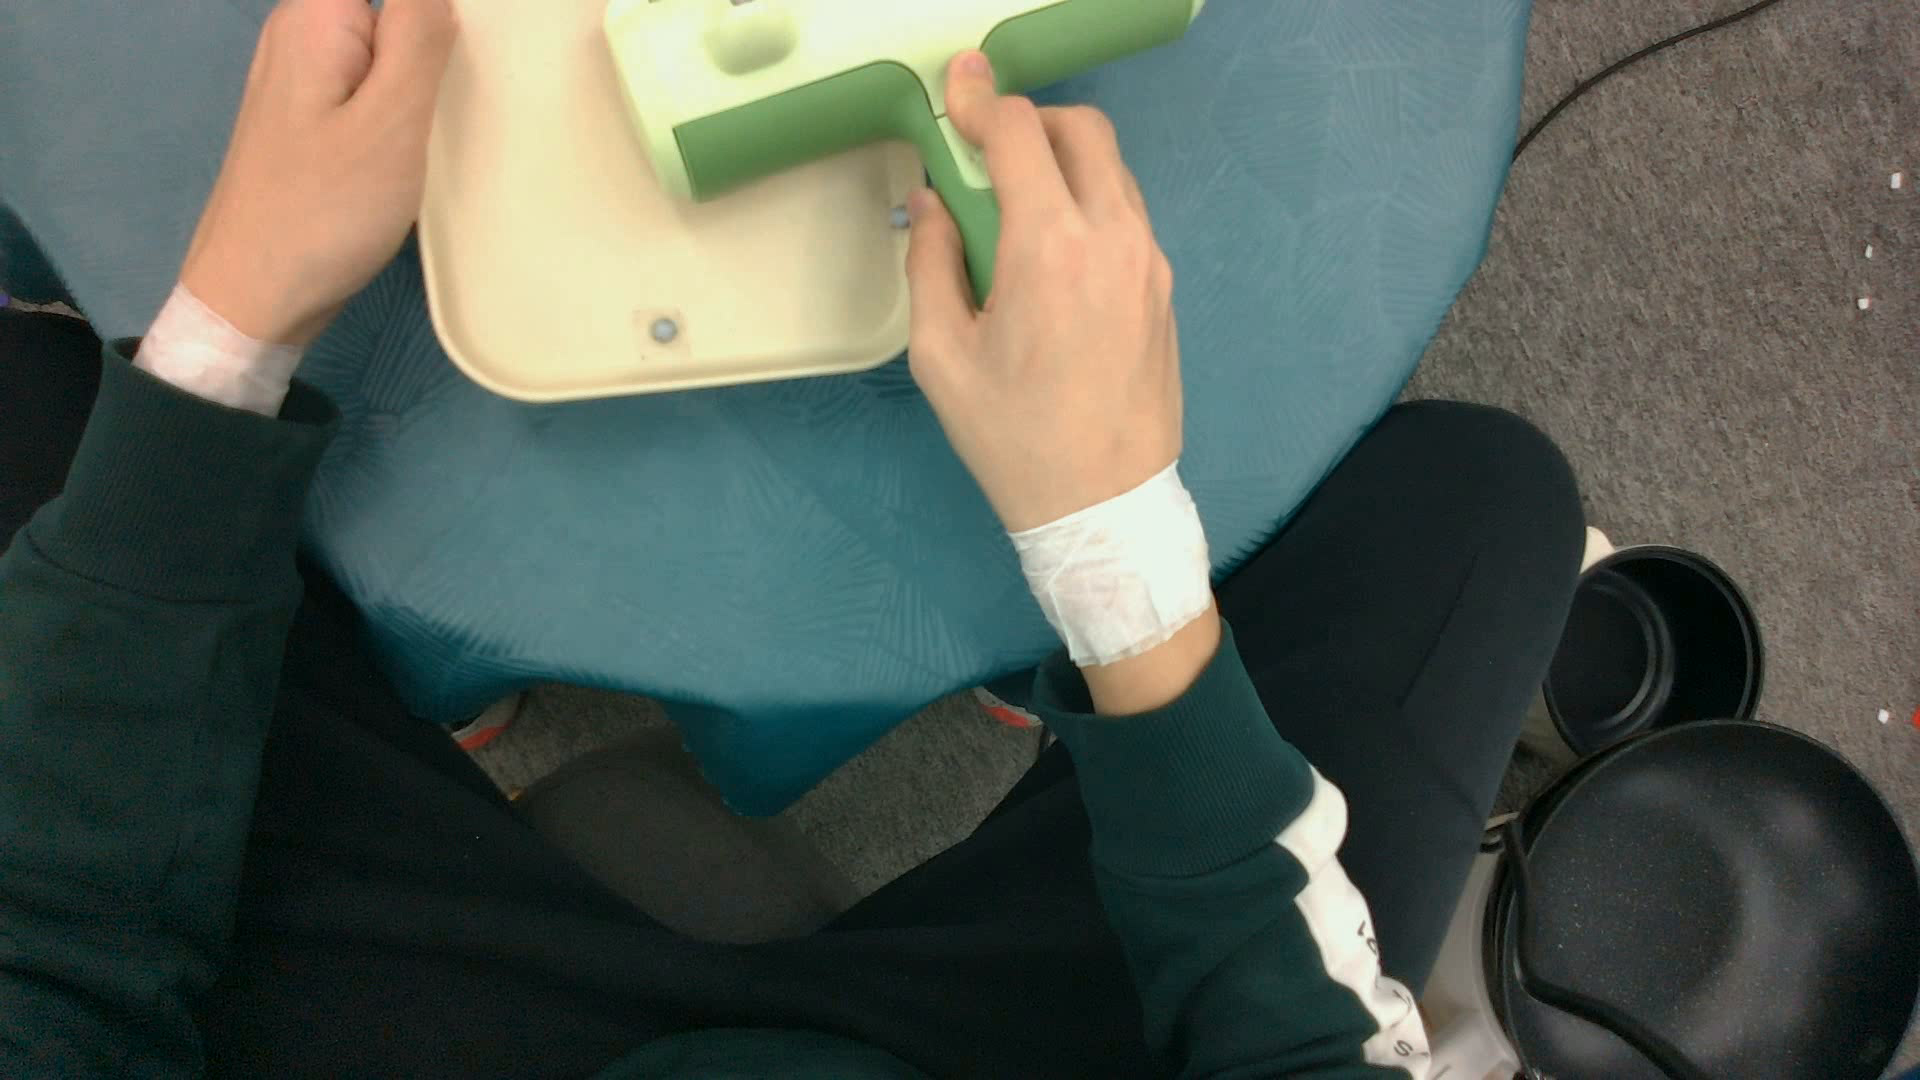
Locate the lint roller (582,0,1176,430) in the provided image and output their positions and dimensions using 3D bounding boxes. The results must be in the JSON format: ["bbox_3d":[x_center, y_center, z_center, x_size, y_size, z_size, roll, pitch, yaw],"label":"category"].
[{"bbox_3d":[0.000,-0.127,0.441,0.199,0.082,0.183,-22,76,-10],"label":"lint roller"}]

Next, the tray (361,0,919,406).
[{"bbox_3d":[-0.109,-0.172,0.466,0.171,0.017,0.239,-10,98,-16],"label":"tray"}]
